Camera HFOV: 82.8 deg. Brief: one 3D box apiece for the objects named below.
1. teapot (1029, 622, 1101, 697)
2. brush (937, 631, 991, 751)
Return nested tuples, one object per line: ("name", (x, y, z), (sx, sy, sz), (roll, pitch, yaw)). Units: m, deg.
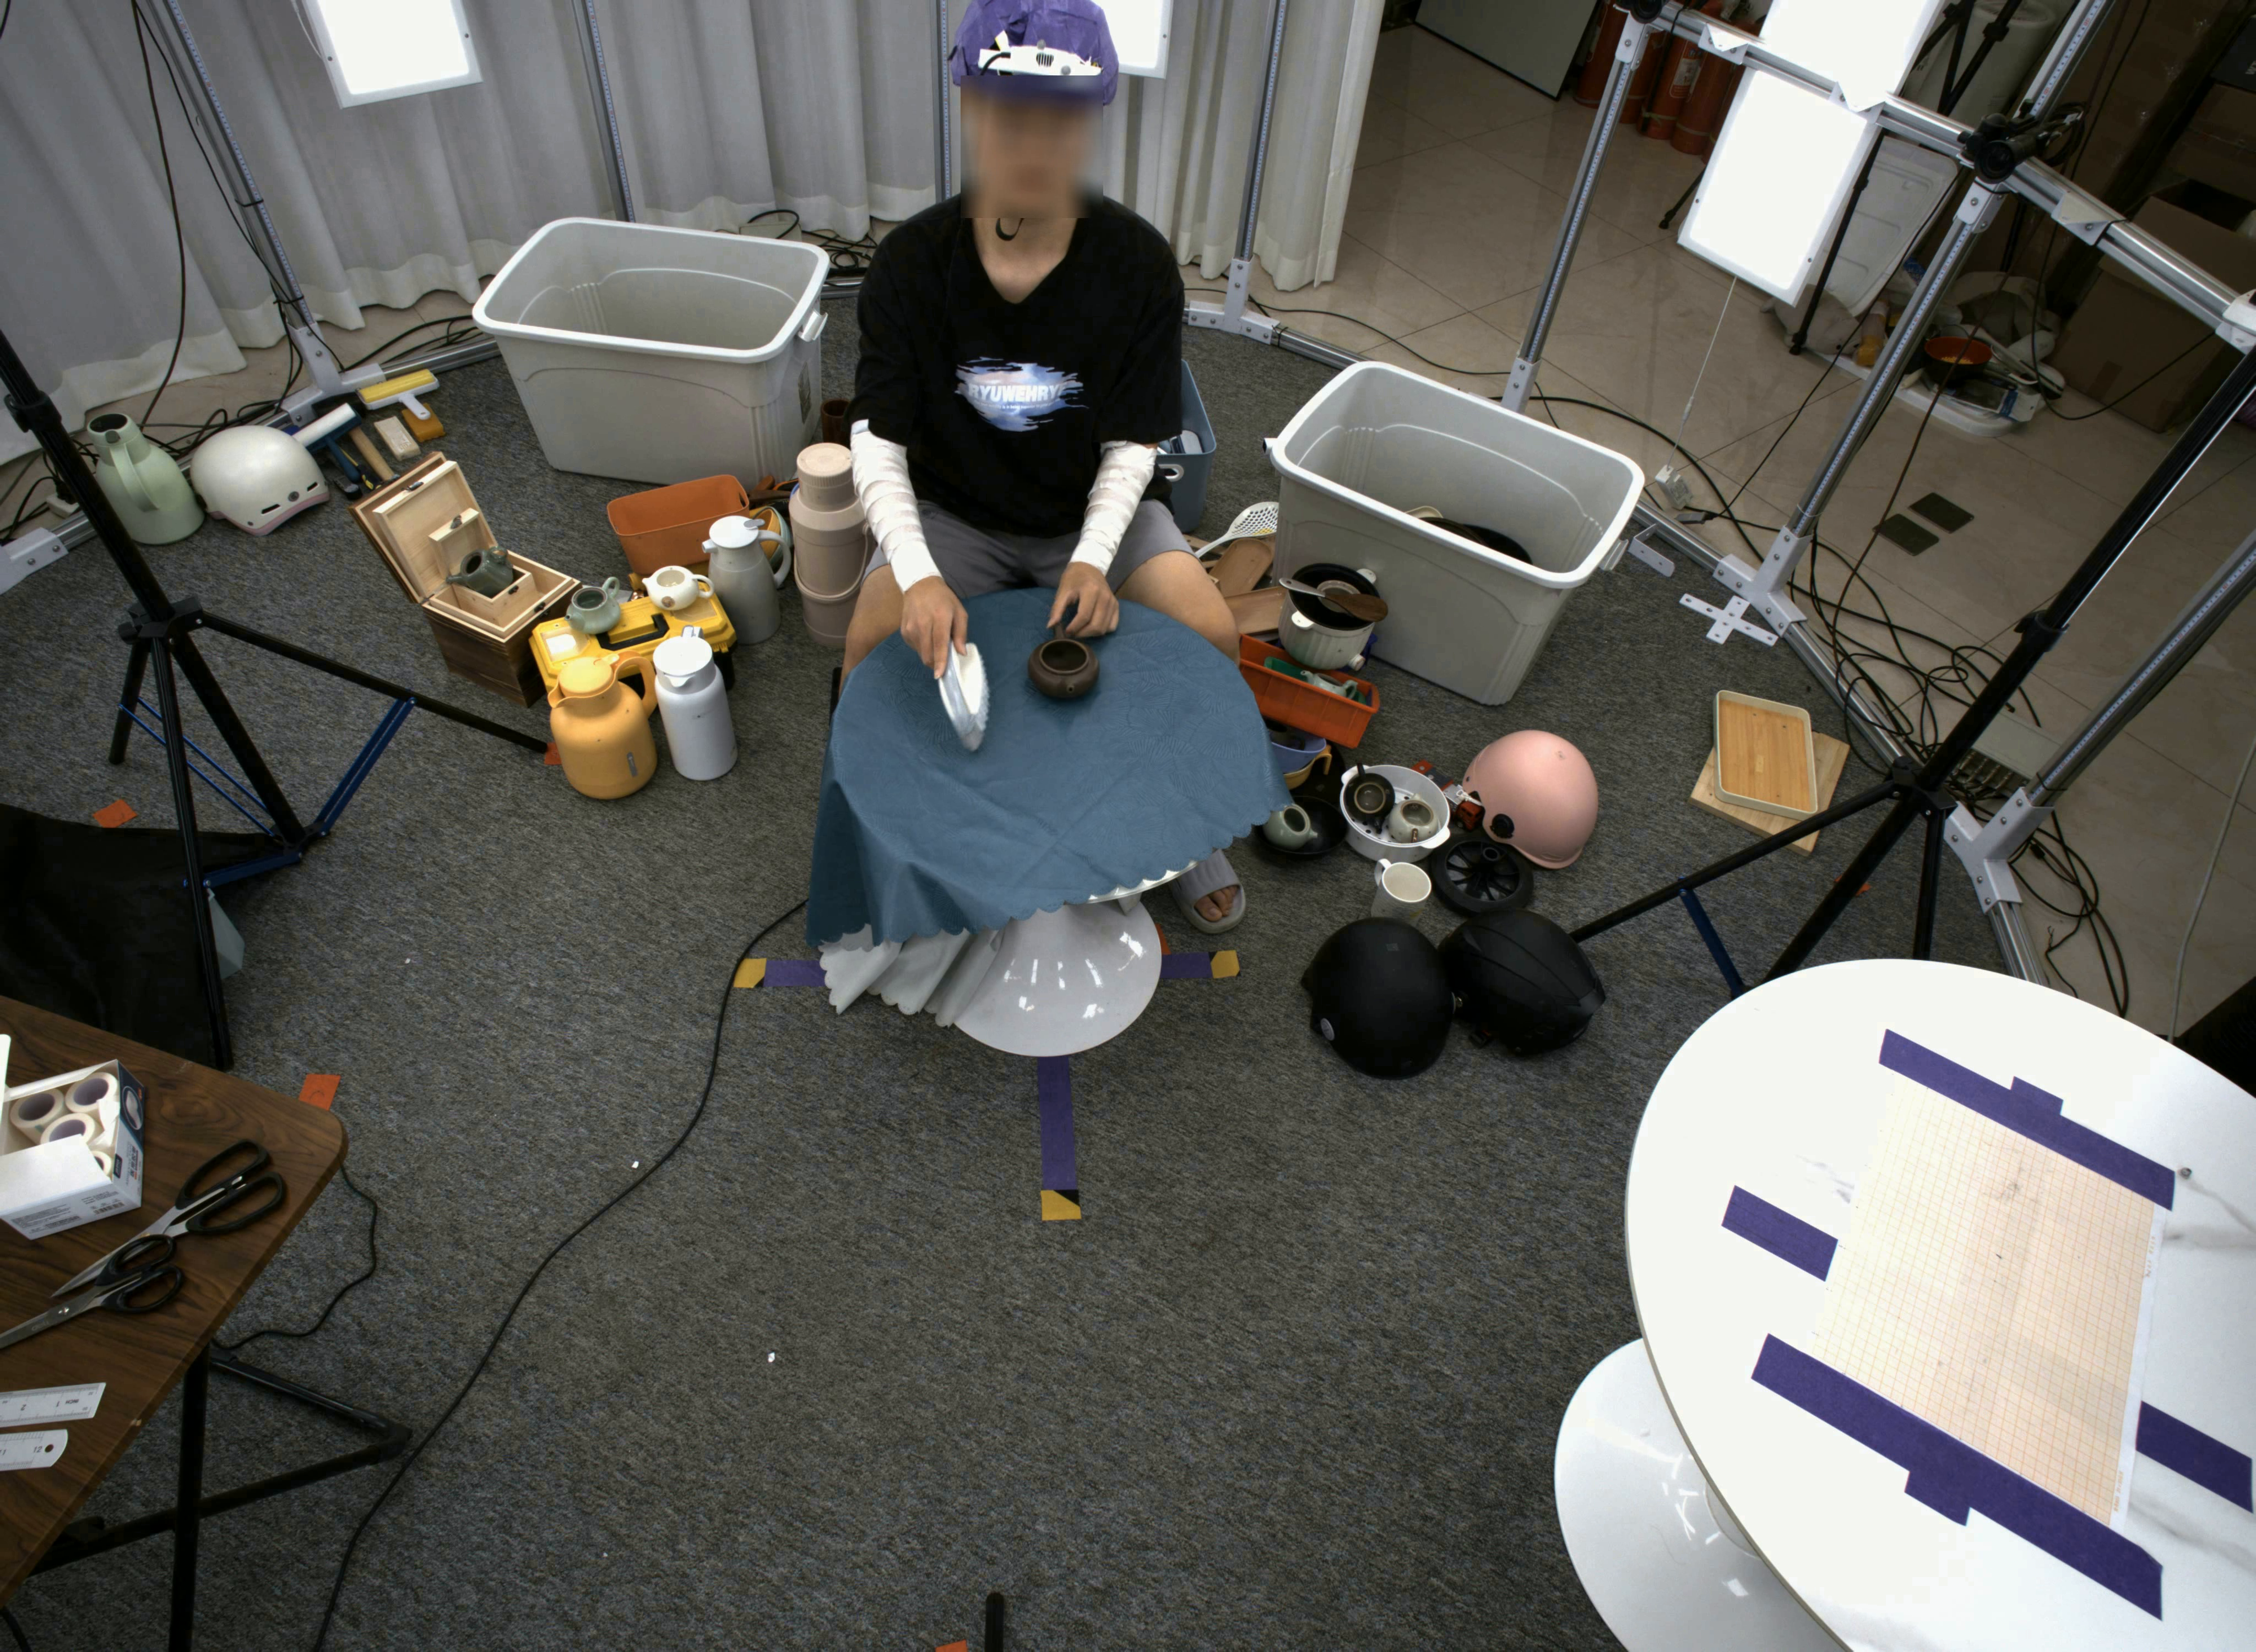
("teapot", (-0.091, -0.232, 1.832), (0.102, 0.052, 0.157), (-8, 51, -12))
("brush", (-0.229, -0.192, 1.757), (0.061, 0.092, 0.180), (-16, 52, 11))
